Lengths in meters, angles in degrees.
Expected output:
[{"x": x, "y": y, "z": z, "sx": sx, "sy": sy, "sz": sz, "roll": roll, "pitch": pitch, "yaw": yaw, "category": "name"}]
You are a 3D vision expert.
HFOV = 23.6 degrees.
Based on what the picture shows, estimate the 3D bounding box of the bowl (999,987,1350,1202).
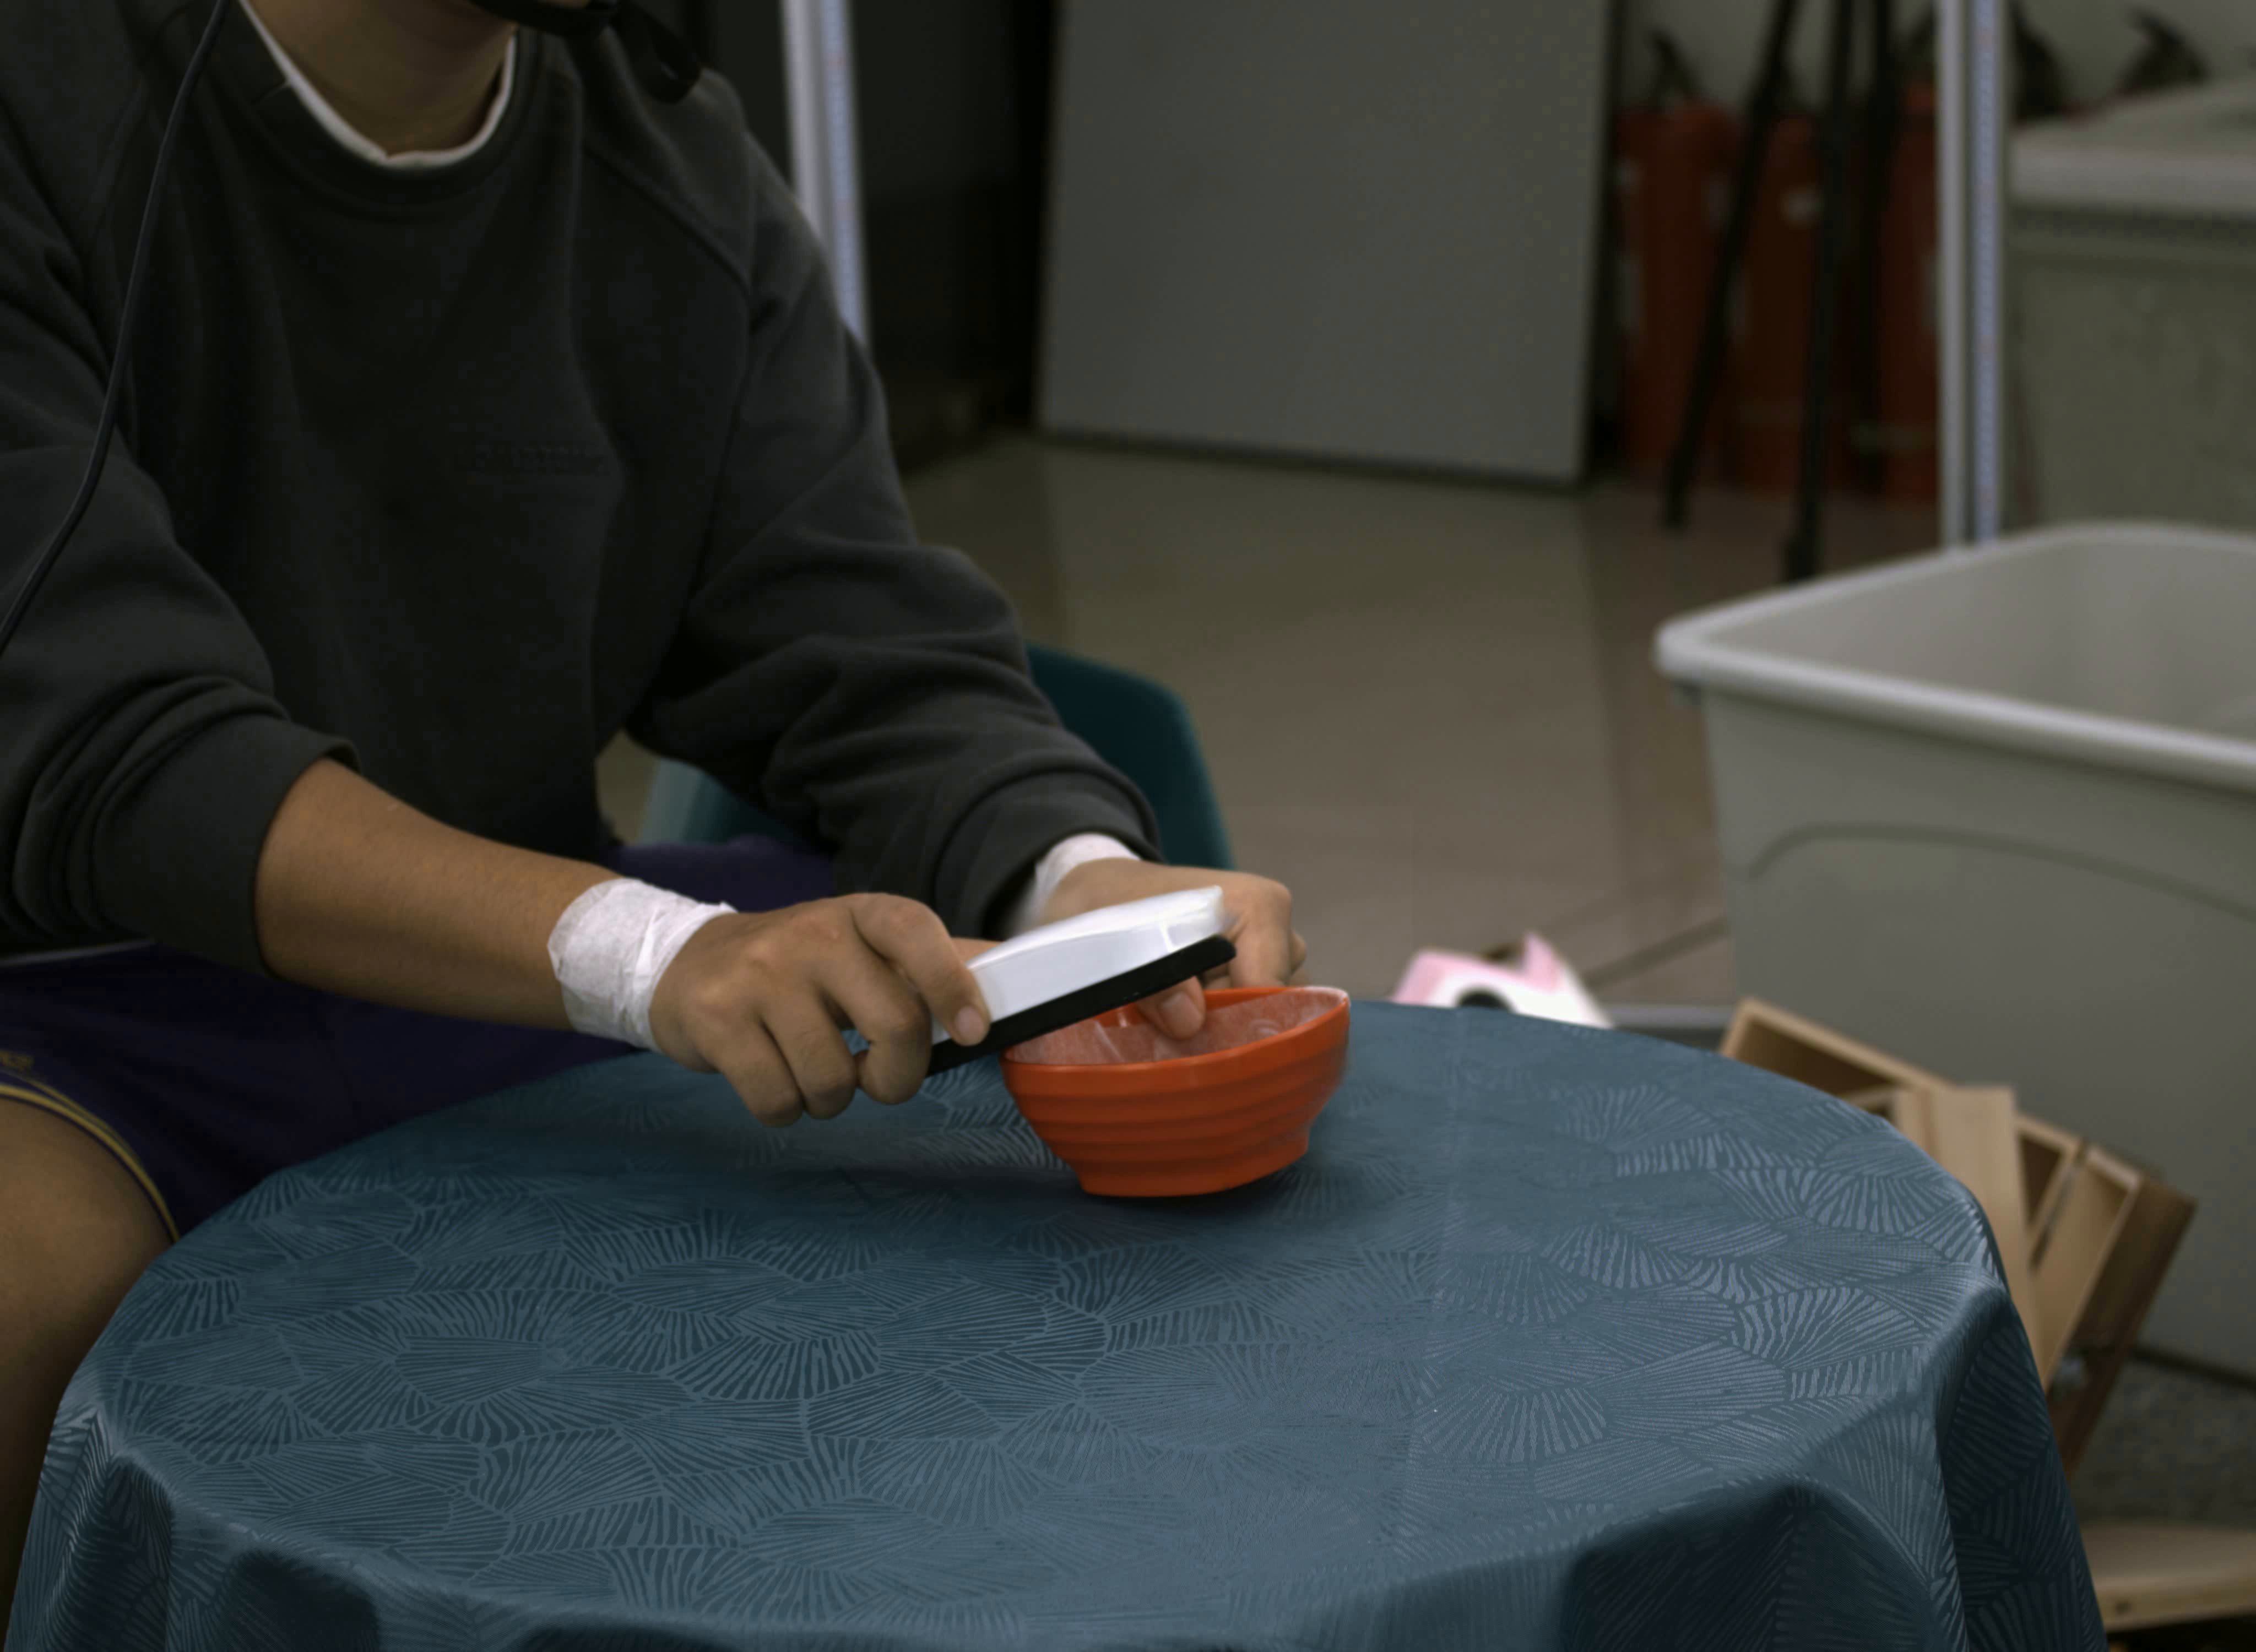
[{"x": 0.019, "y": 0.090, "z": 1.767, "sx": 0.117, "sy": 0.052, "sz": 0.119, "roll": -10, "pitch": 8, "yaw": 0, "category": "bowl"}]

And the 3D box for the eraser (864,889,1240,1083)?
[{"x": -0.024, "y": 0.049, "z": 1.759, "sx": 0.132, "sy": 0.035, "sz": 0.062, "roll": -21, "pitch": -1, "yaw": 40, "category": "eraser"}]
